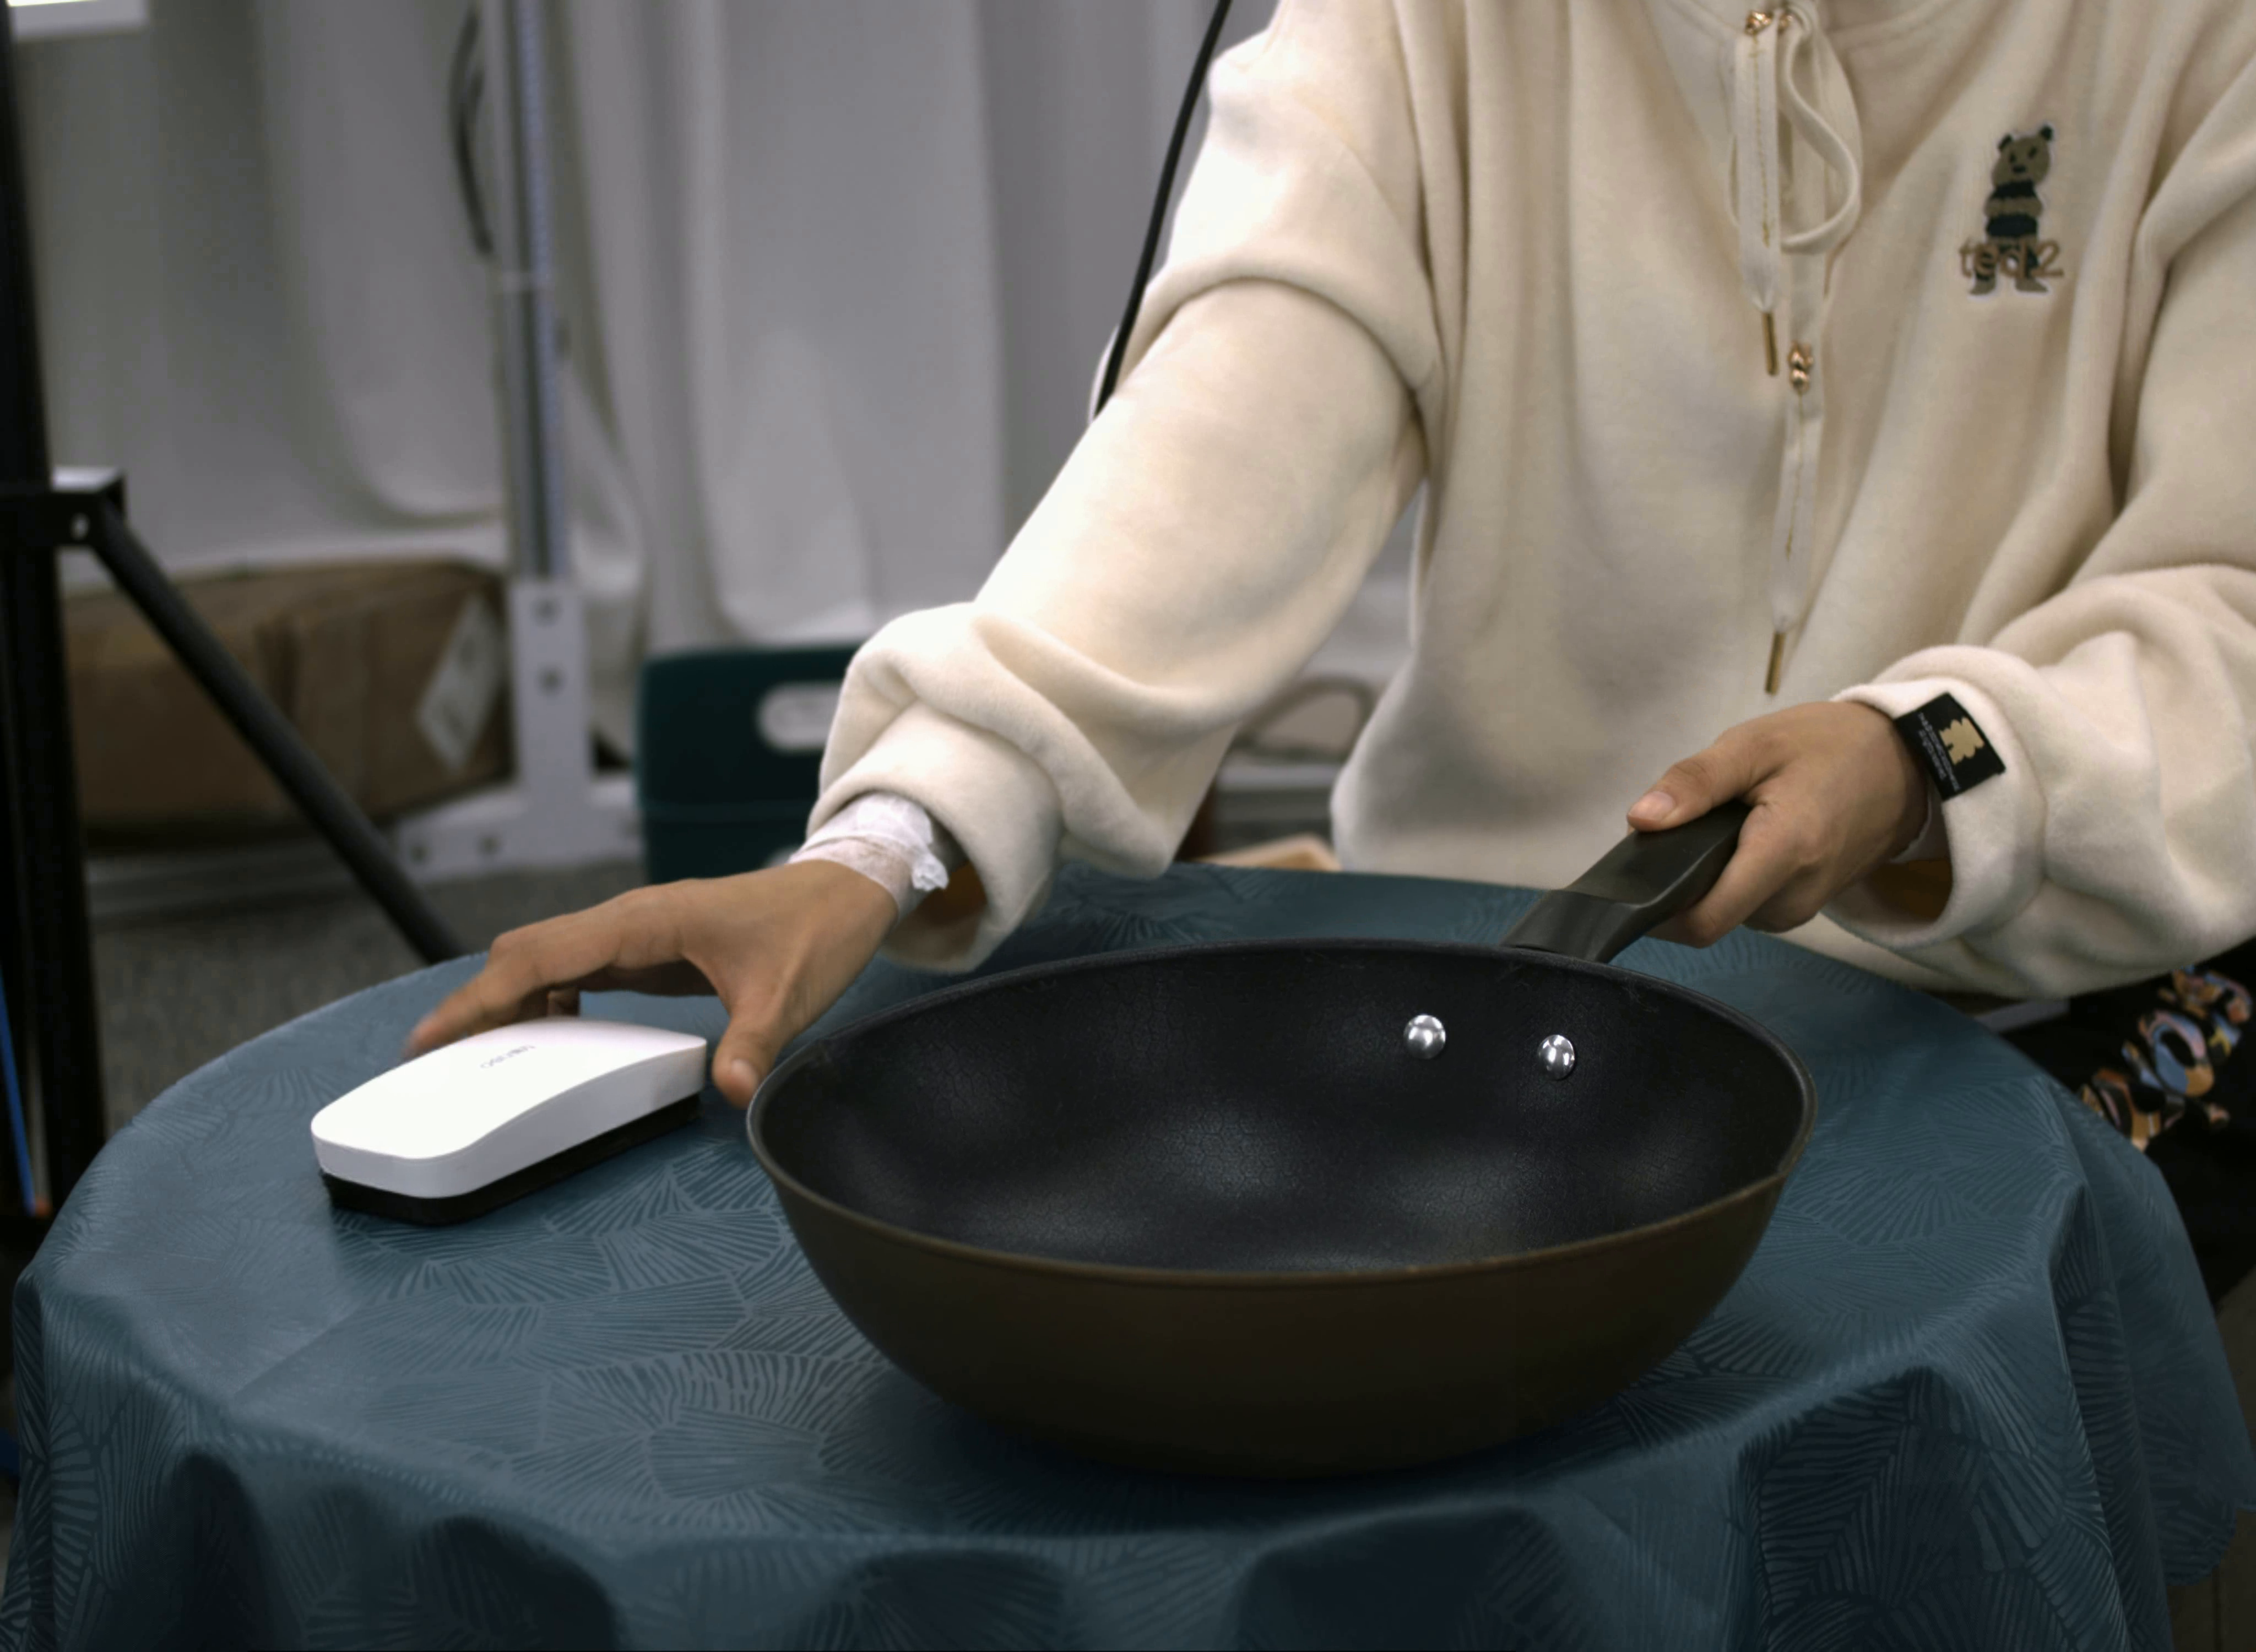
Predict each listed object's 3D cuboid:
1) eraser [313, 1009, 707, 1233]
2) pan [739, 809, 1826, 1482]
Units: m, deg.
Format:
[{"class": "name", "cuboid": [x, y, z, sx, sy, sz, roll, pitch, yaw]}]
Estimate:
[{"class": "eraser", "cuboid": [-0.184, 0.086, 1.612, 0.065, 0.034, 0.128, 12, 22, 34]}, {"class": "pan", "cuboid": [0.085, 0.085, 1.473, 0.293, 0.087, 0.455, 7, 17, 30]}]
